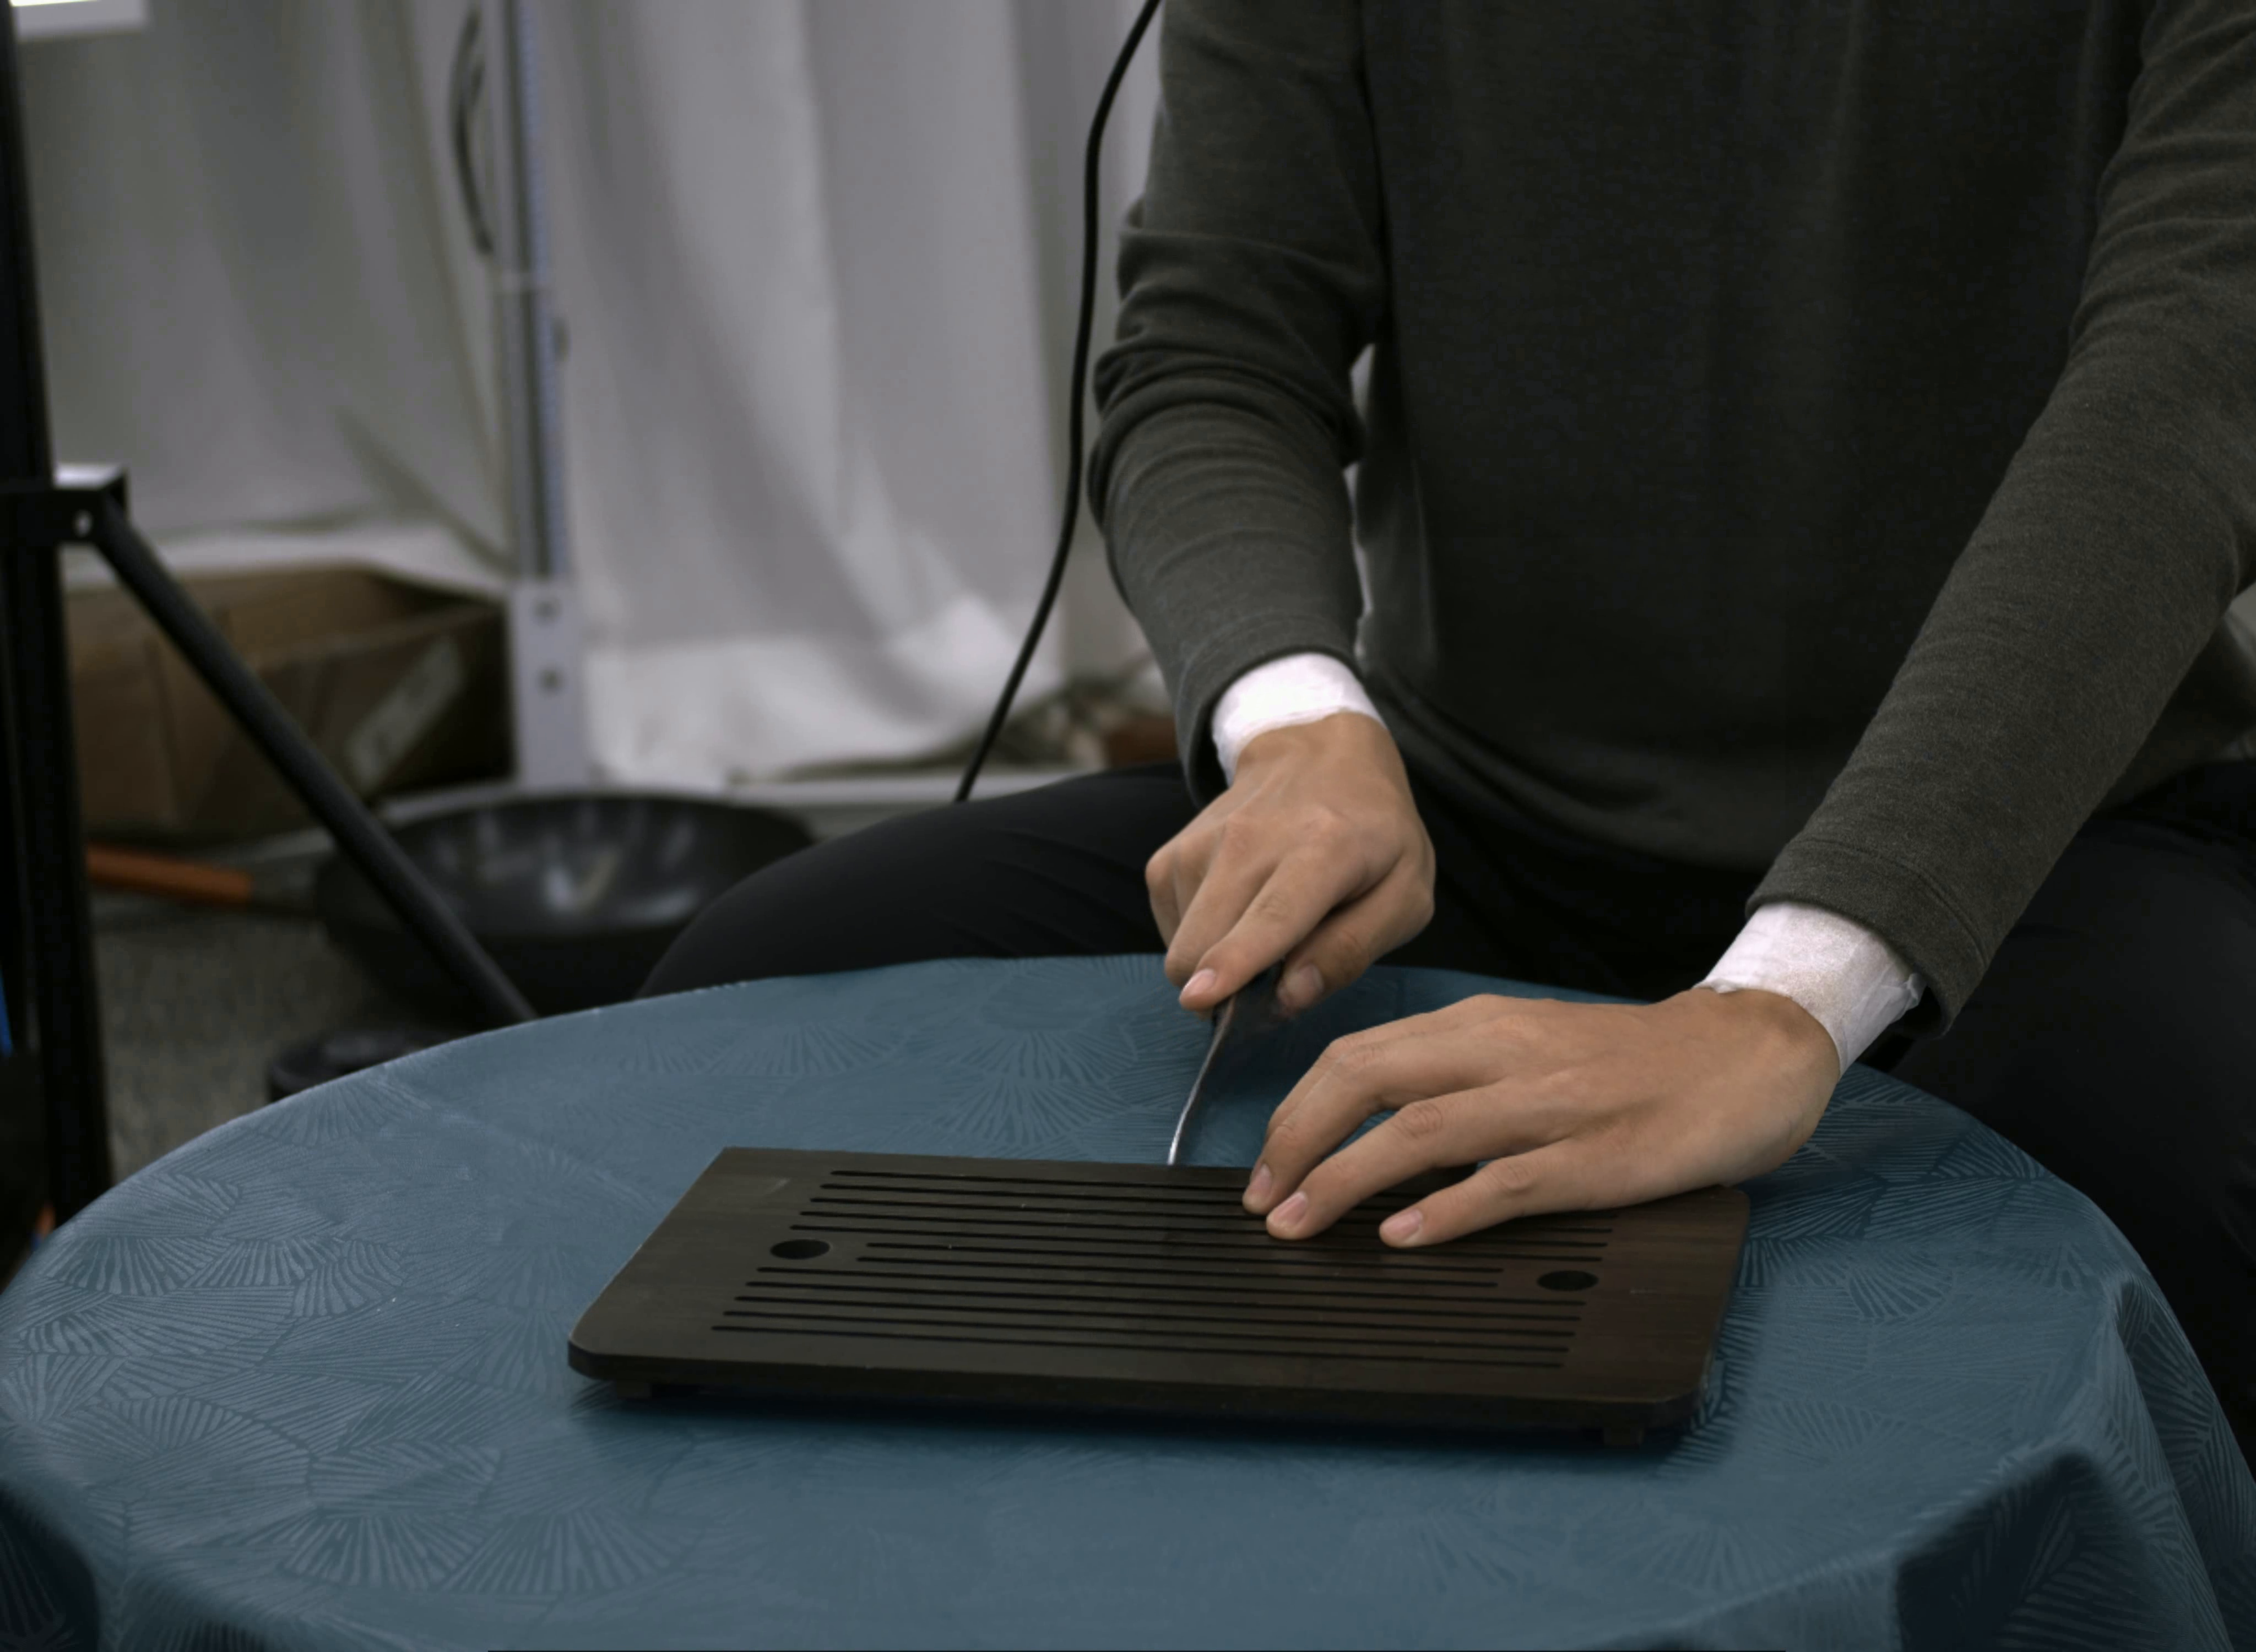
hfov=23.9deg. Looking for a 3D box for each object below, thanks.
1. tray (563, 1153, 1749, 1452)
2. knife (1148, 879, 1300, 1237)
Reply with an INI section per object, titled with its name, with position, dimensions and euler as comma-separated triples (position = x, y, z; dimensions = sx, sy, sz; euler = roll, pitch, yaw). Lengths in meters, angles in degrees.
[tray]
position = 0.012, 0.129, 1.453
dimensions = 0.308, 0.018, 0.169
euler = 2, 16, 13
[knife]
position = 0.028, 0.066, 1.582
dimensions = 0.016, 0.024, 0.237
euler = 9, 24, 7
